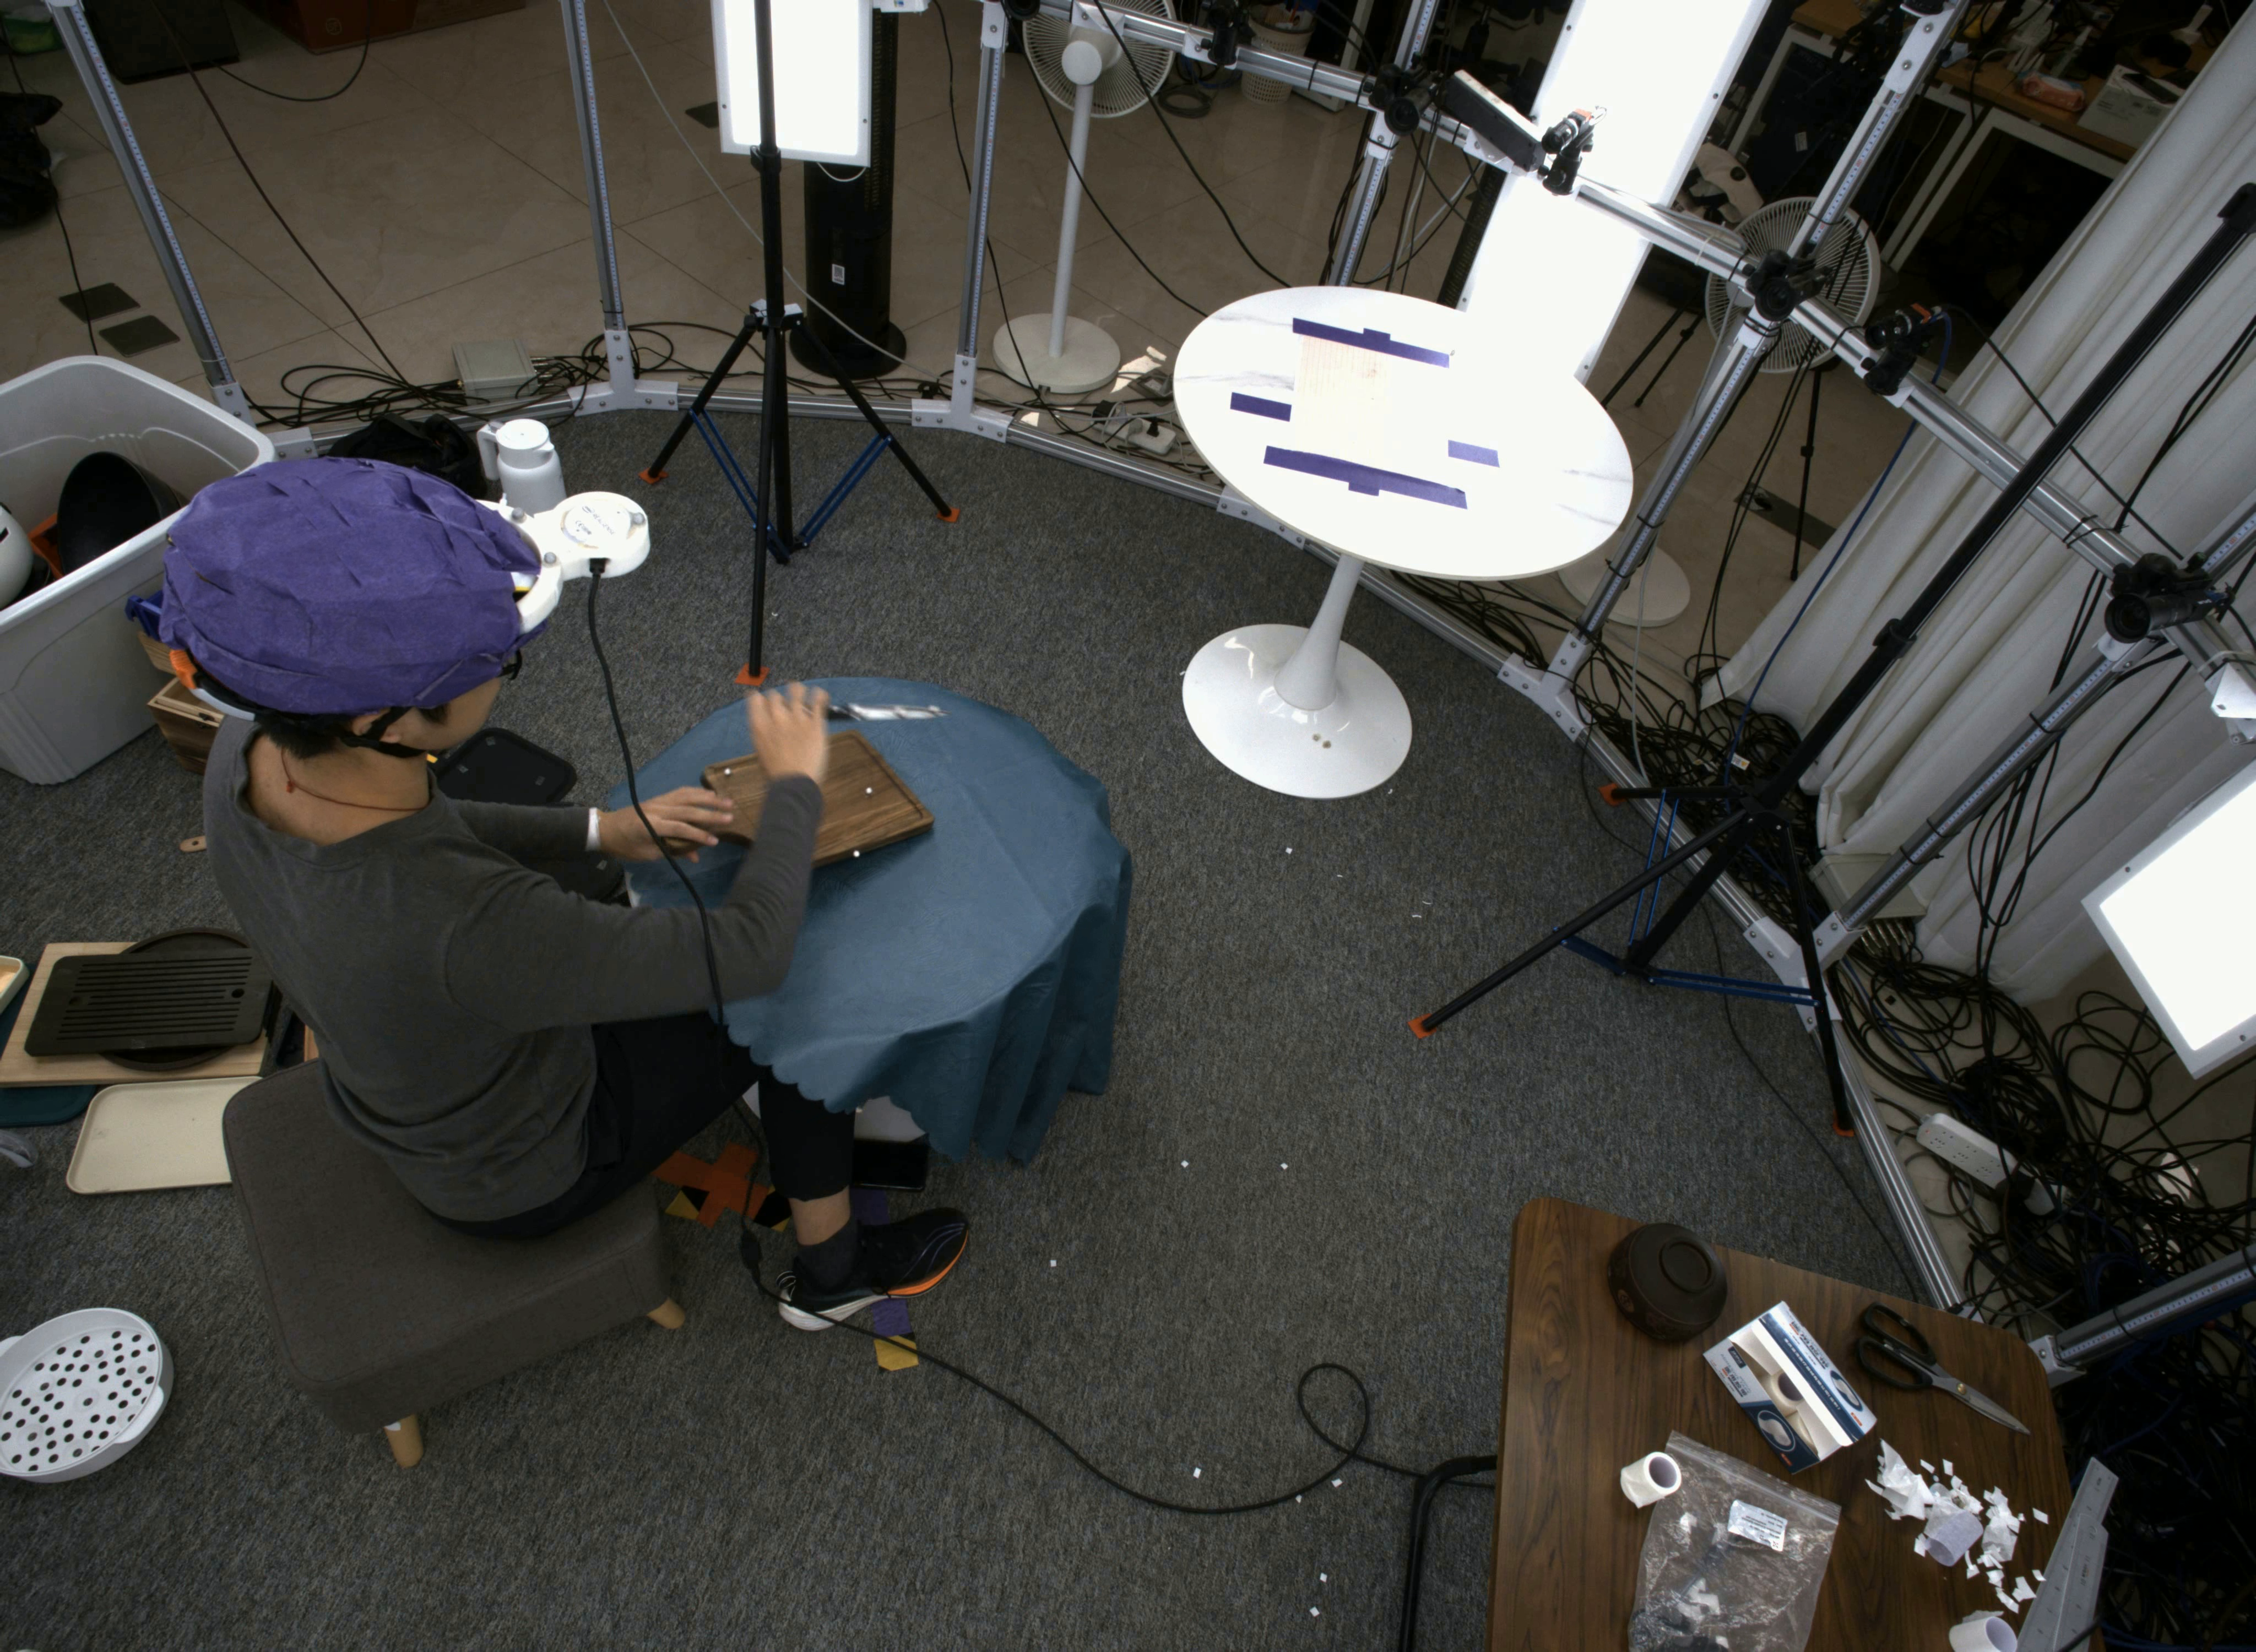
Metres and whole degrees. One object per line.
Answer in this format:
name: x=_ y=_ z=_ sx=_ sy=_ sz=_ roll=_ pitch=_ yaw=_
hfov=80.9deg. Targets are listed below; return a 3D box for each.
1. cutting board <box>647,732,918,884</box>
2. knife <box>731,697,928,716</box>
cutting board: x=-0.460 y=-0.018 z=1.667 sx=0.196 sy=0.023 sz=0.355 roll=46 pitch=41 yaw=20
knife: x=-0.357 y=-0.144 z=1.566 sx=0.240 sy=0.016 sz=0.024 roll=-2 pitch=57 yaw=-26
